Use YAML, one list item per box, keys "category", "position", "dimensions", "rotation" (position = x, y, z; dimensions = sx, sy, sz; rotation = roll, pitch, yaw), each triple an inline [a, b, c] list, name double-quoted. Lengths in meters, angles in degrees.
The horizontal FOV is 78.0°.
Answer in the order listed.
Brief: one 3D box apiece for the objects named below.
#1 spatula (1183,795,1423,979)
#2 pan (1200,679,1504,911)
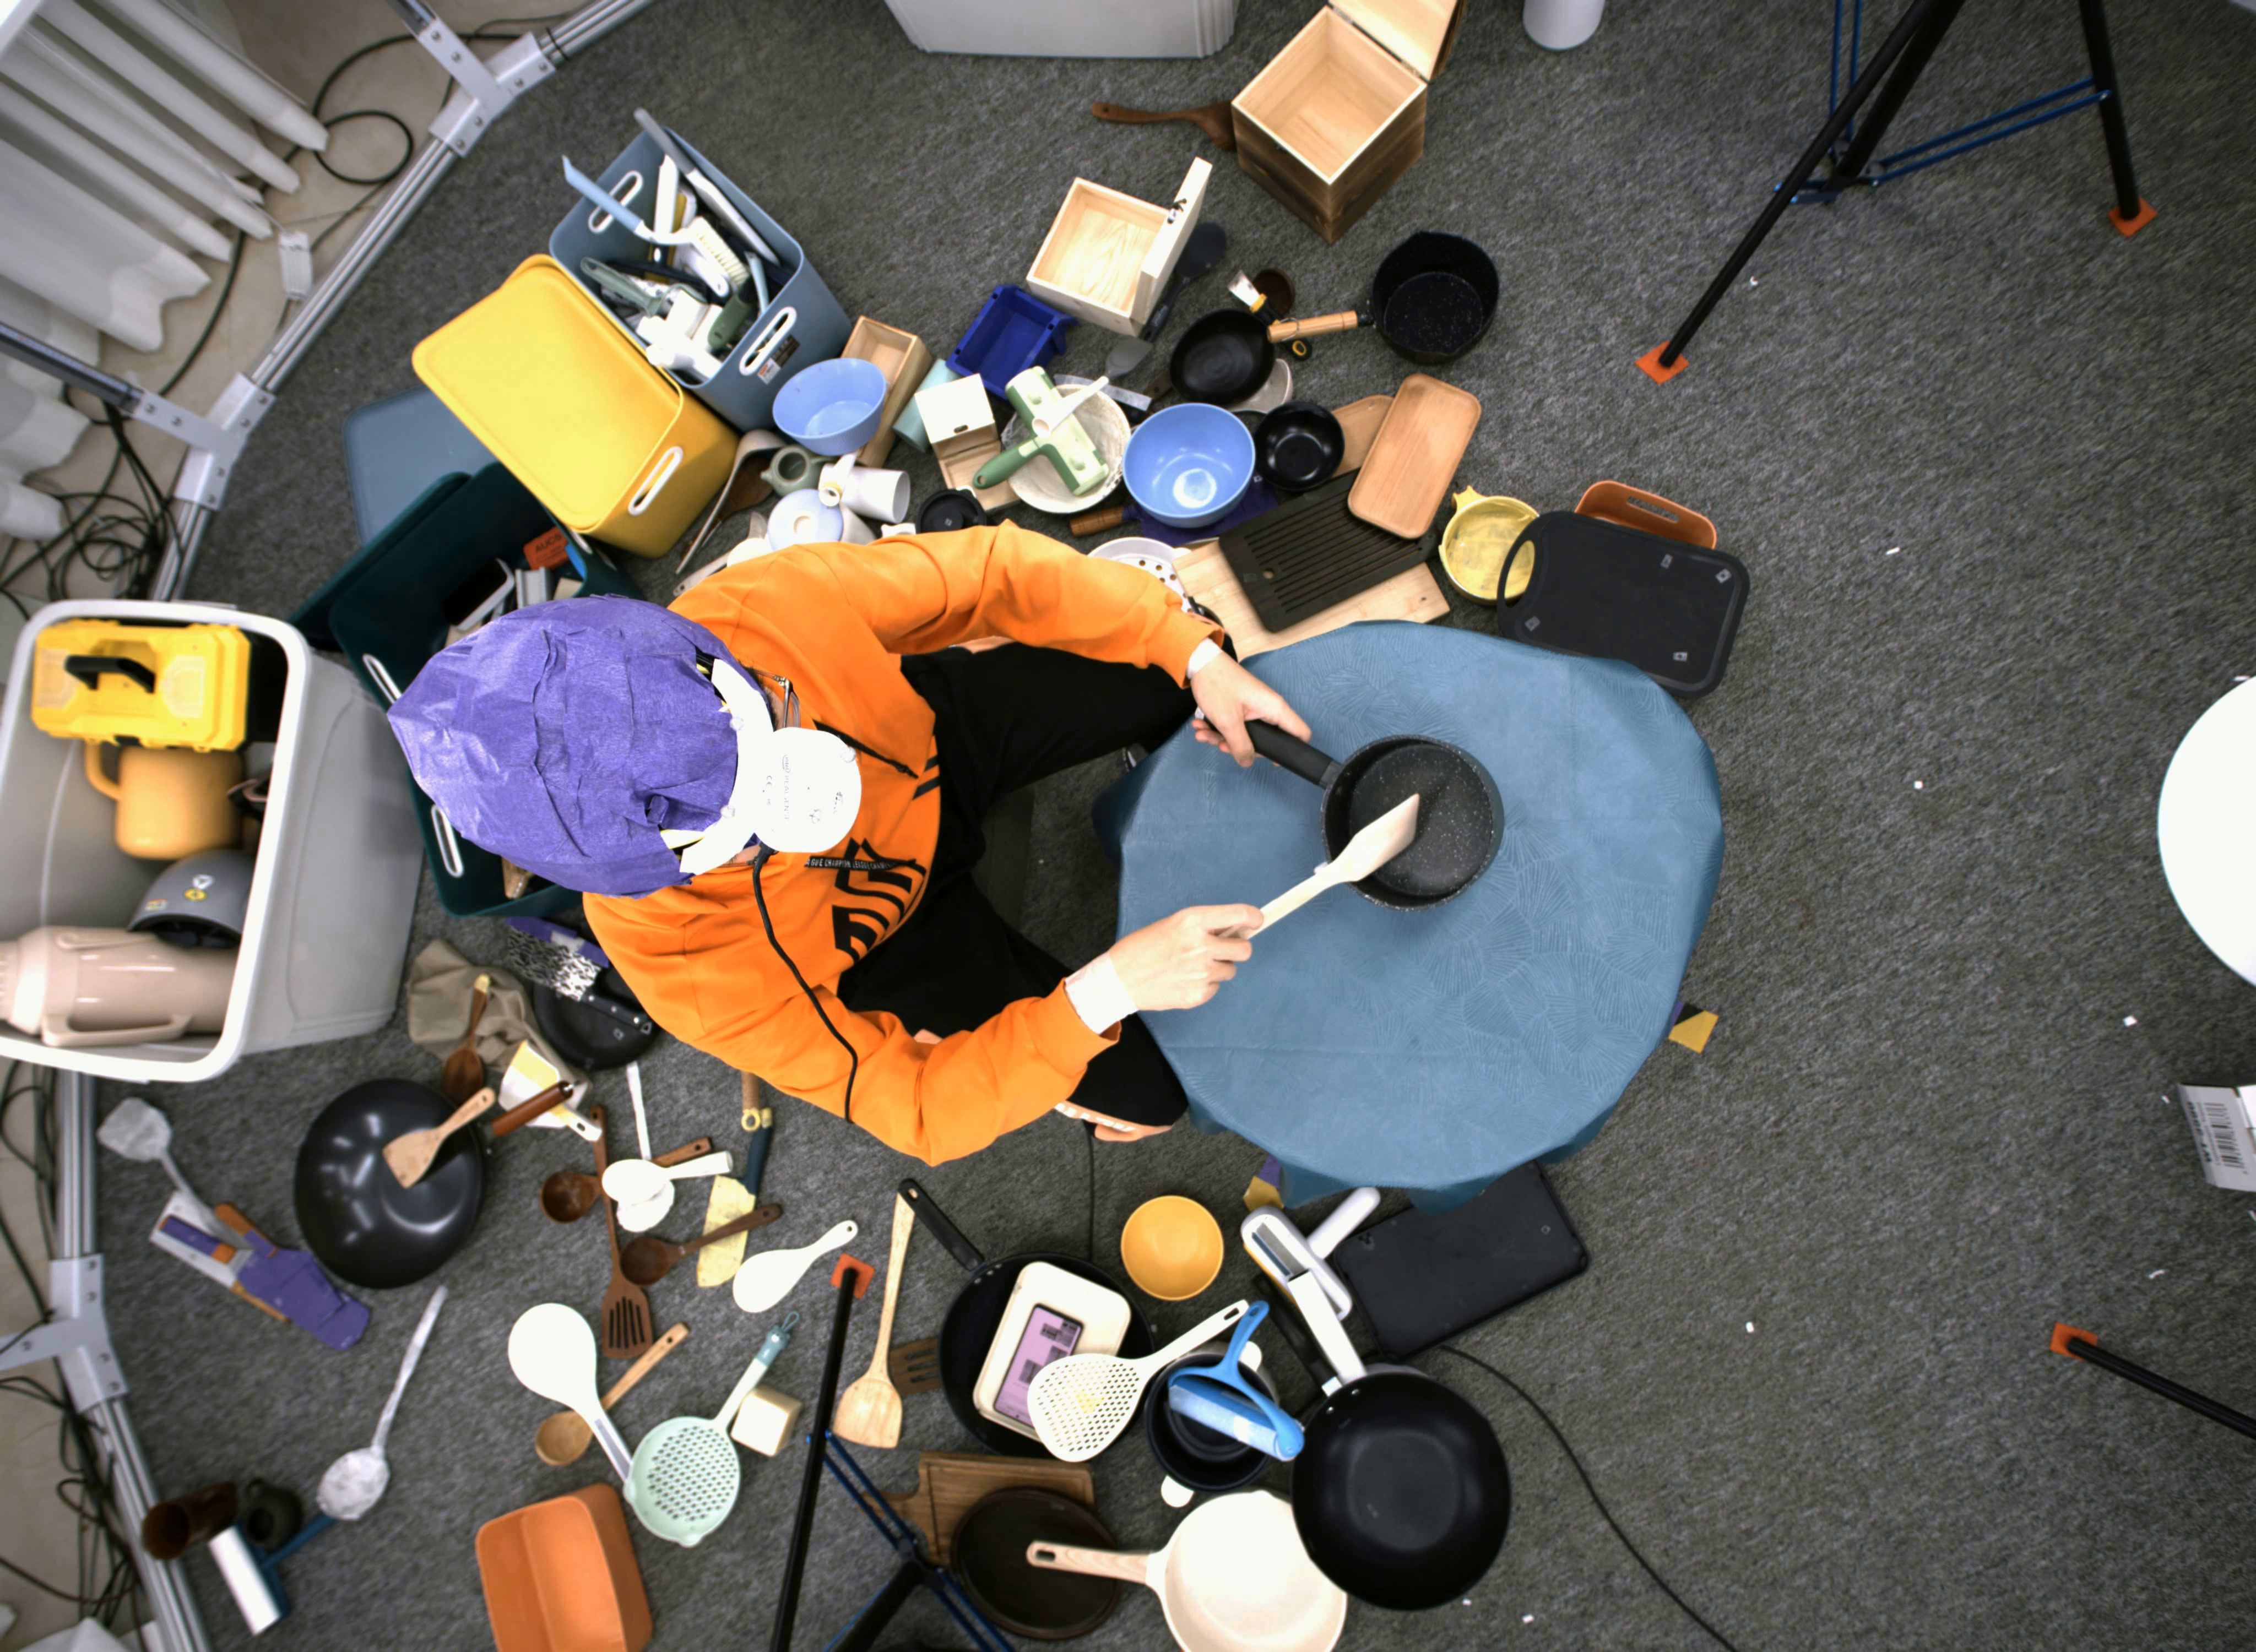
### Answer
- category: "spatula"
  position: [0.169, 0.061, 1.305]
  dimensions: [0.290, 0.074, 0.010]
  rotation: [-31, 56, -16]
- category: "pan"
  position: [0.219, -0.049, 1.378]
  dimensions: [0.327, 0.085, 0.174]
  rotation: [35, 107, 17]
